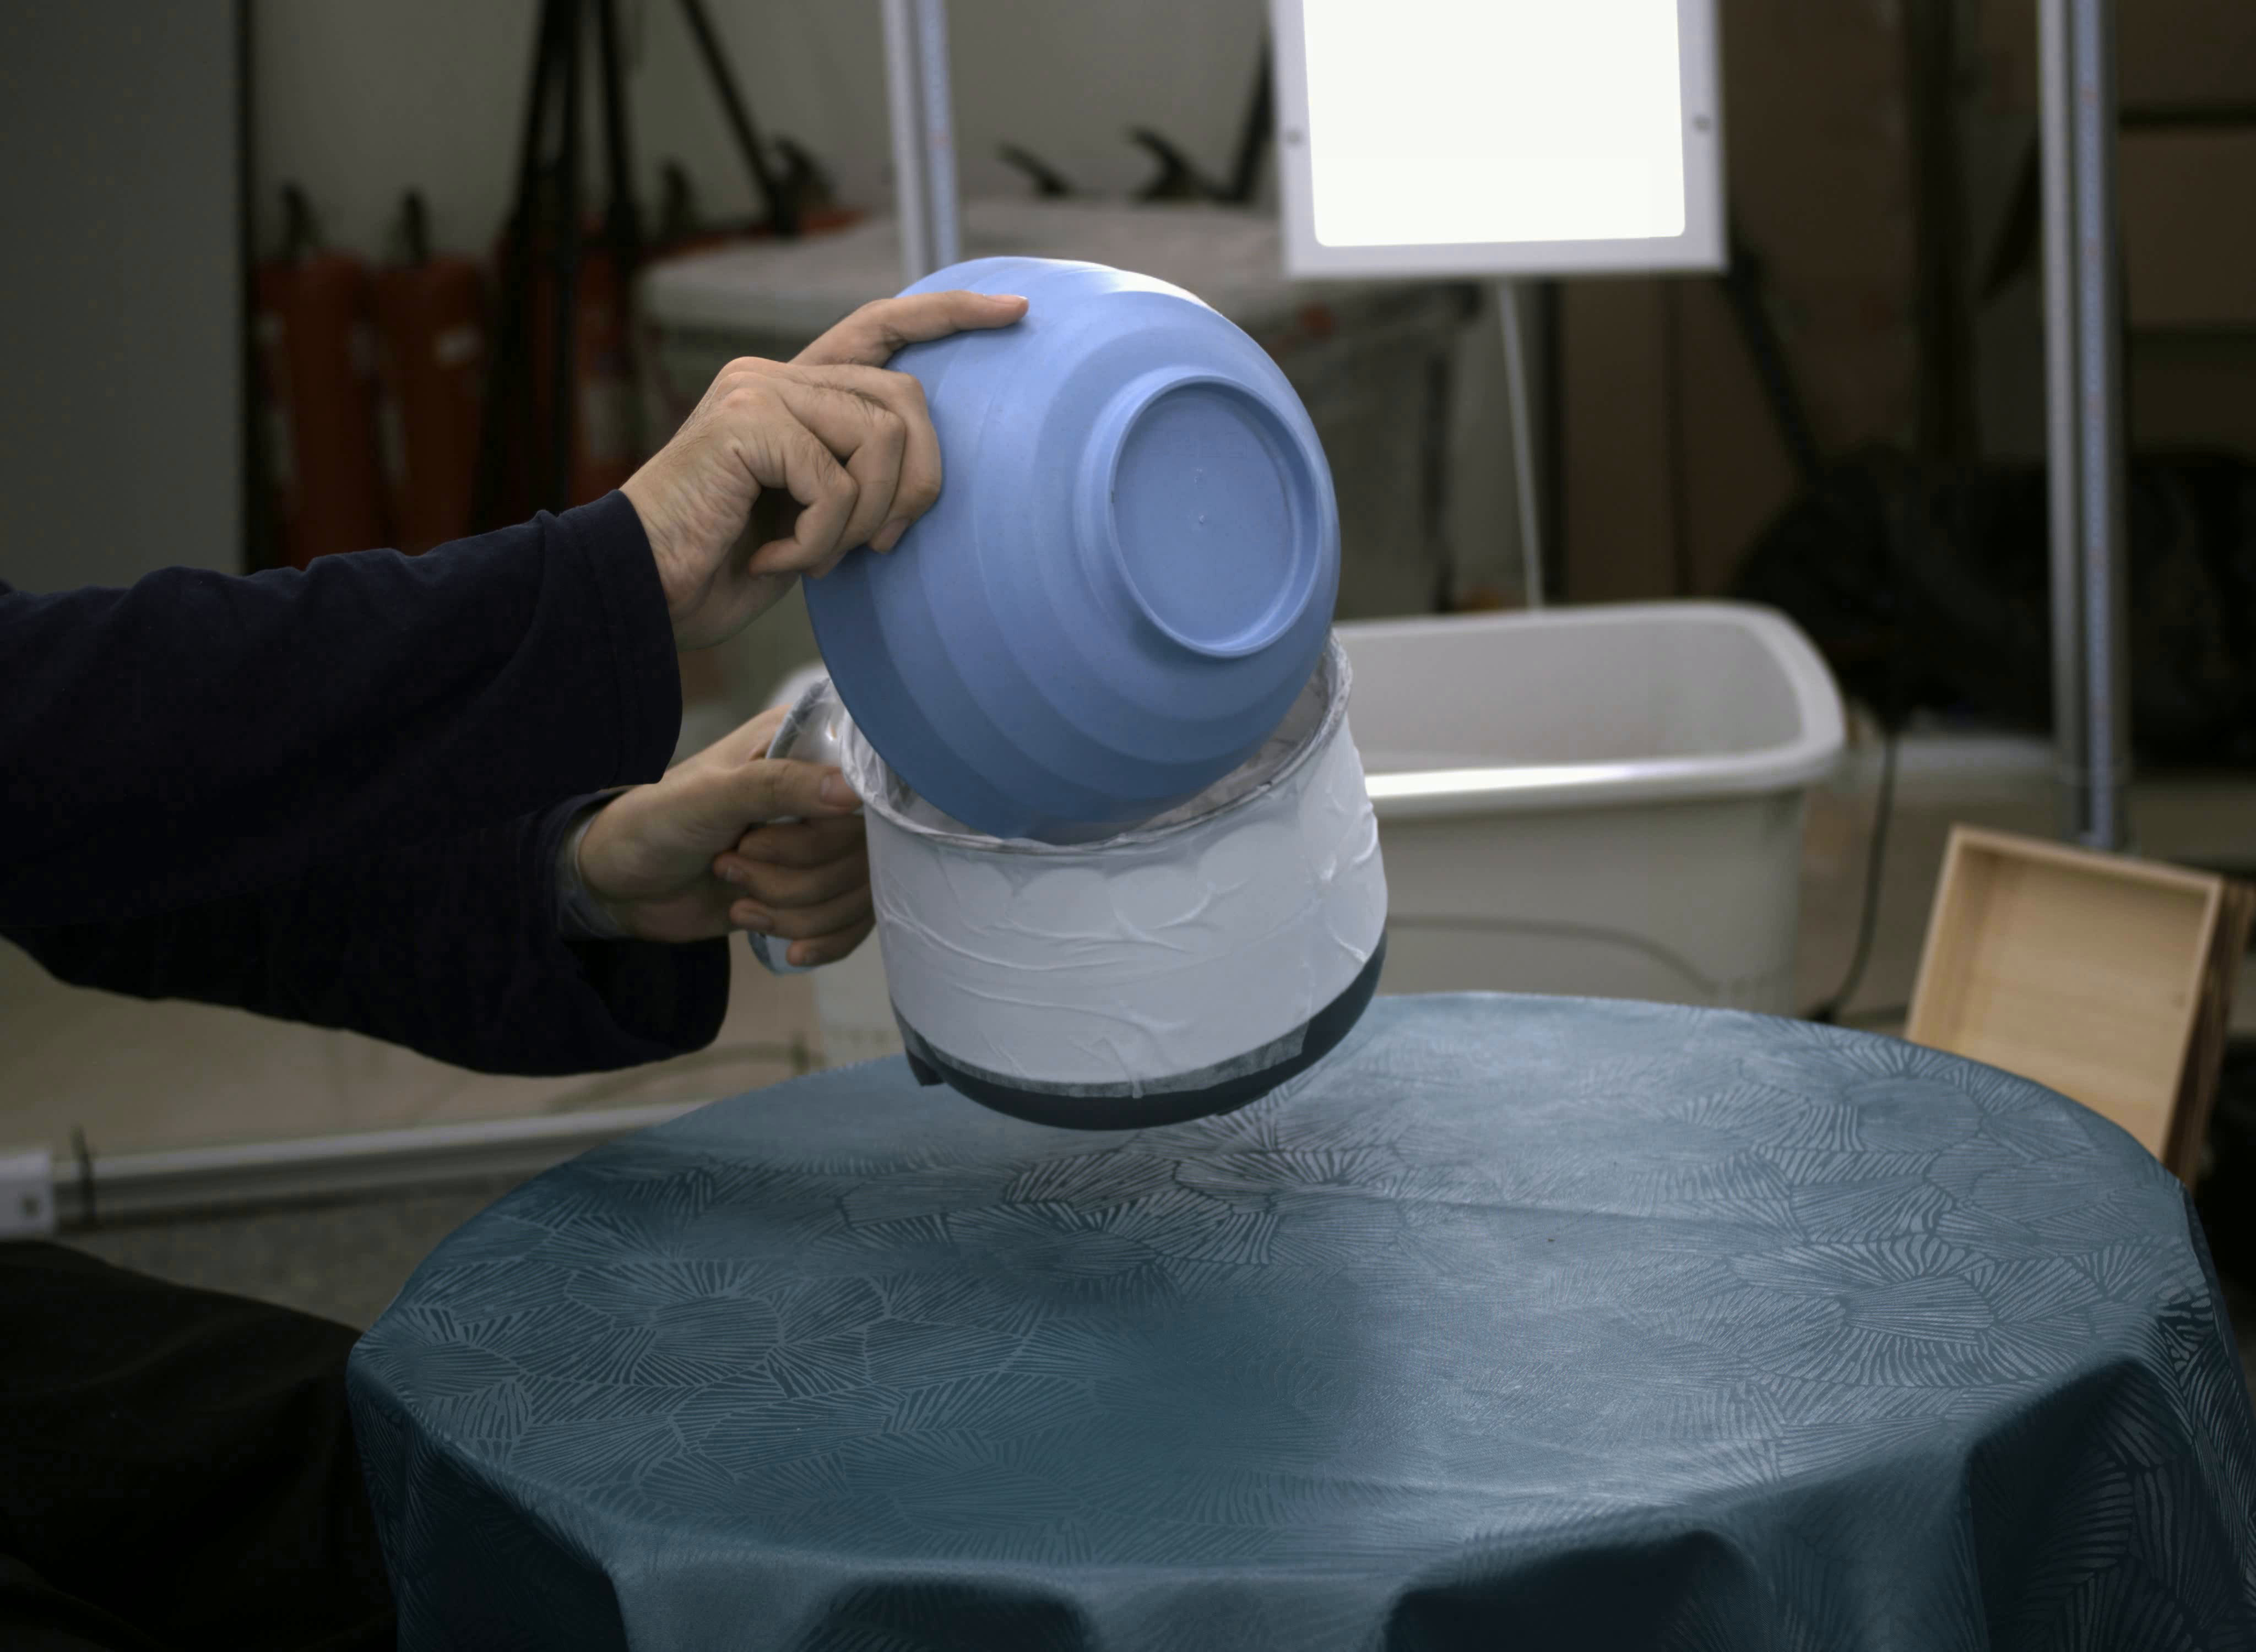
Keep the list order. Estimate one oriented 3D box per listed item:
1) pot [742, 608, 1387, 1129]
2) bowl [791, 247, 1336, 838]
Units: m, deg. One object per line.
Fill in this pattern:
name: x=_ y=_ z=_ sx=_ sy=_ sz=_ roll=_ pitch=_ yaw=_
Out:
pot: x=-0.028 y=0.009 z=1.903 sx=0.236 sy=0.137 sz=0.176 roll=2 pitch=33 yaw=19
bowl: x=-0.003 y=-0.095 z=1.781 sx=0.191 sy=0.197 sz=0.097 roll=-14 pitch=6 yaw=-35
